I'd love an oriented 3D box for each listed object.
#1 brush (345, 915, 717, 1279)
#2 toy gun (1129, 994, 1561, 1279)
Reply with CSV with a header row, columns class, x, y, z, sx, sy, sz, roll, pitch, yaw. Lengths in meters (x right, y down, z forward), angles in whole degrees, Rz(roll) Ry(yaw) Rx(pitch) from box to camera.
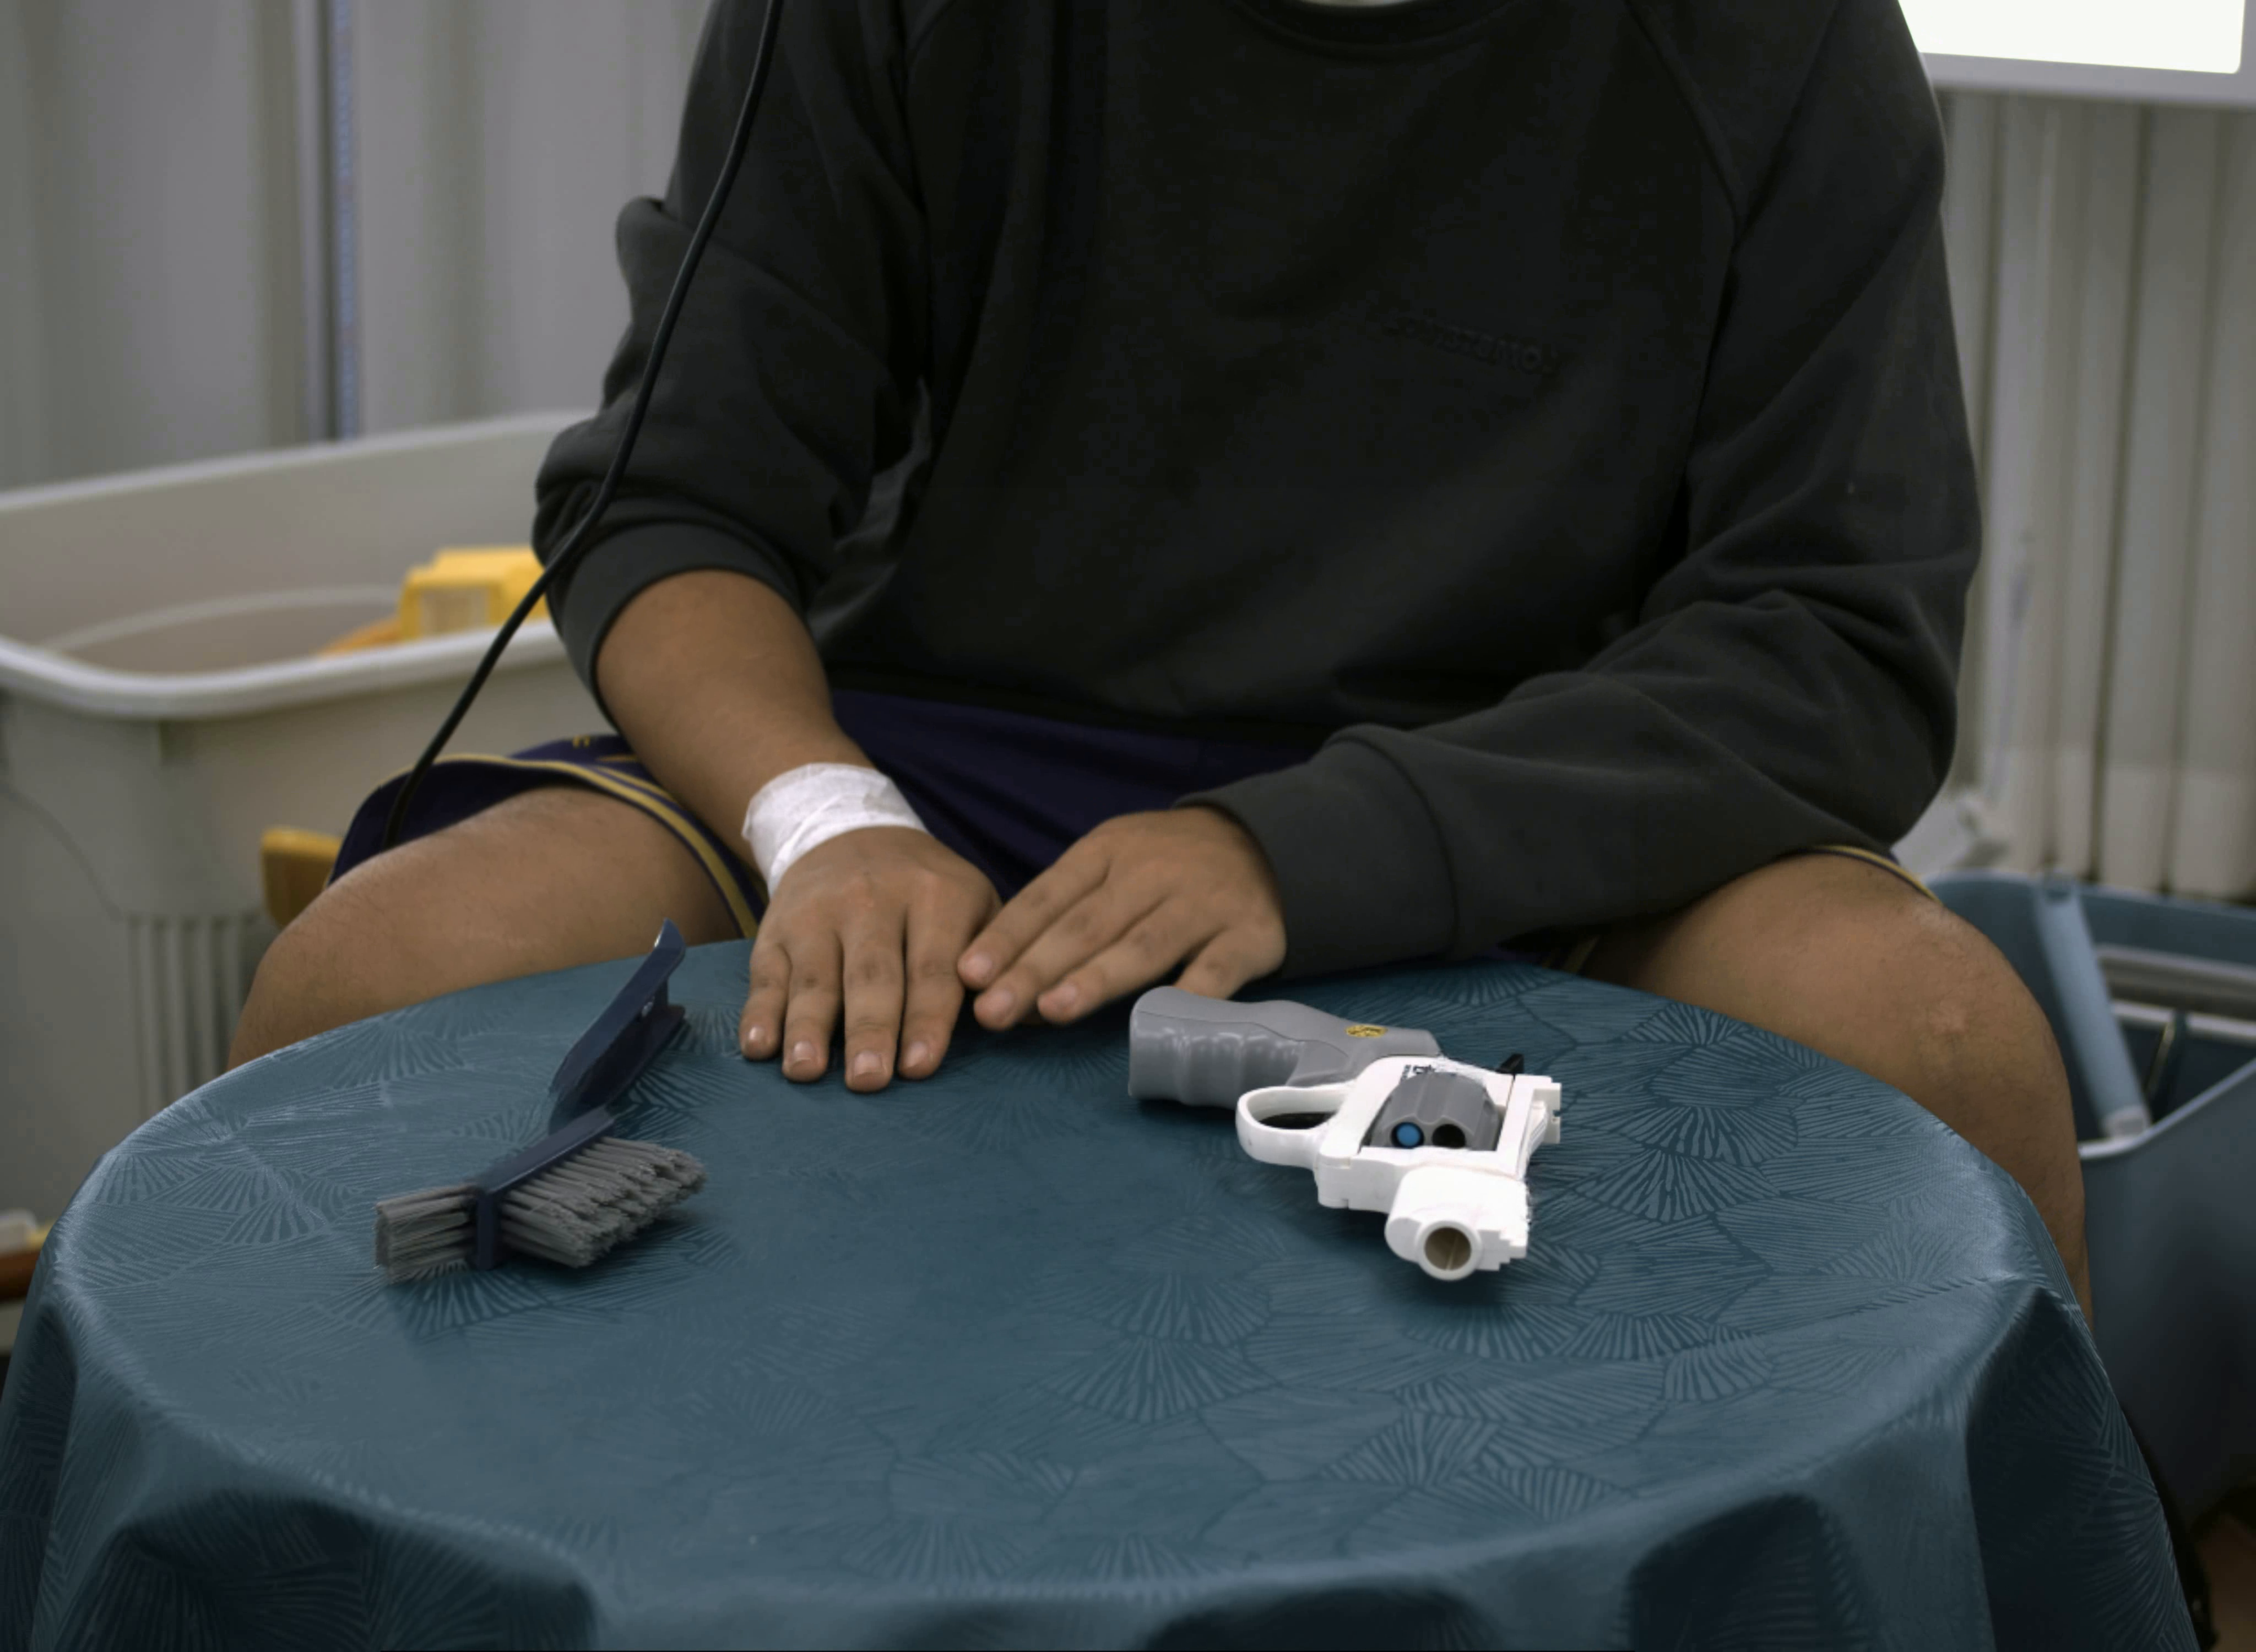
class,x,y,z,sx,sy,sz,roll,pitch,yaw
brush,-0.179,0.083,1.662,0.095,0.034,0.272,1,16,1
toy gun,0.062,0.093,1.622,0.141,0.039,0.208,2,15,7
